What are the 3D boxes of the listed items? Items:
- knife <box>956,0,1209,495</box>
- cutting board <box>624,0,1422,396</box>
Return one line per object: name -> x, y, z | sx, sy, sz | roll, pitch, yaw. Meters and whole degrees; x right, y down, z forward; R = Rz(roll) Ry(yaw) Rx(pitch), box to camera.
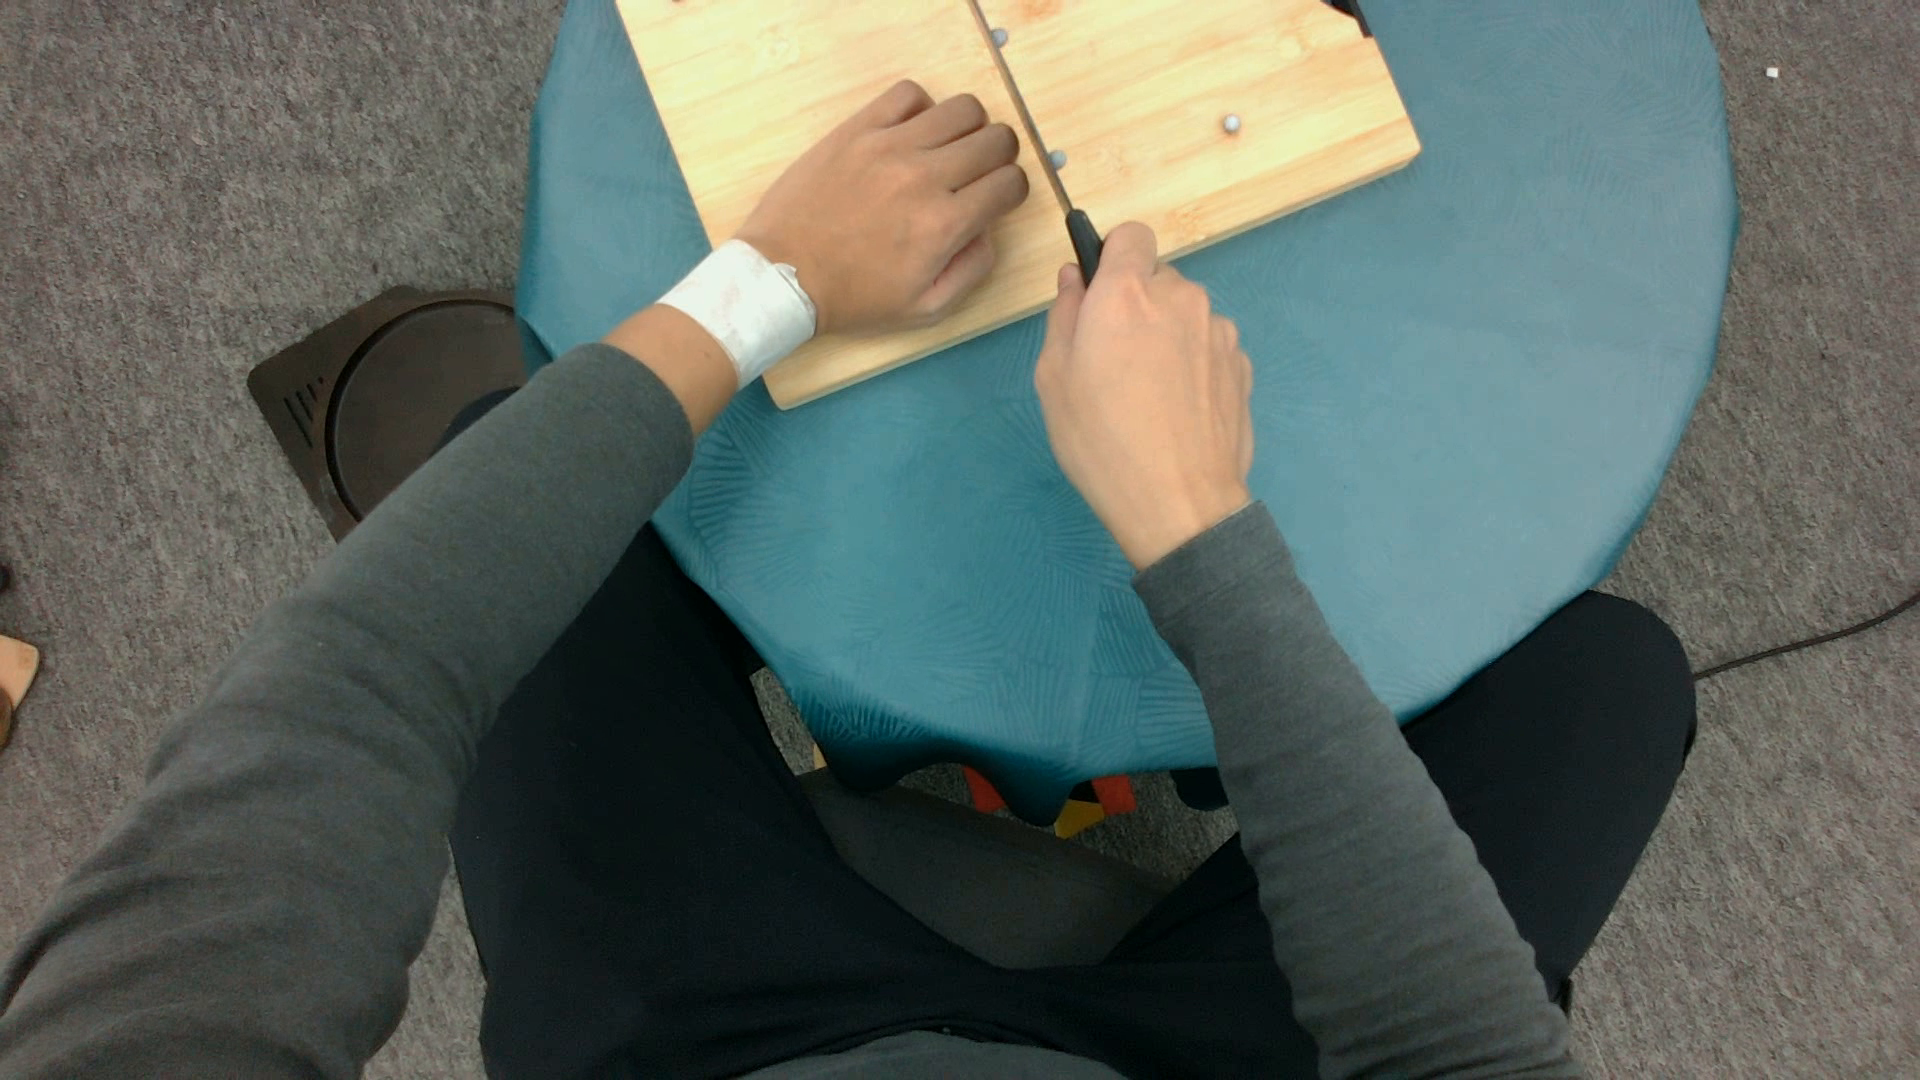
knife -> 0.035, -0.158, 0.591 | 0.021, 0.081, 0.302 | -25, 85, 7
cutting board -> 0.023, -0.243, 0.688 | 0.349, 0.023, 0.251 | -22, 86, -3
